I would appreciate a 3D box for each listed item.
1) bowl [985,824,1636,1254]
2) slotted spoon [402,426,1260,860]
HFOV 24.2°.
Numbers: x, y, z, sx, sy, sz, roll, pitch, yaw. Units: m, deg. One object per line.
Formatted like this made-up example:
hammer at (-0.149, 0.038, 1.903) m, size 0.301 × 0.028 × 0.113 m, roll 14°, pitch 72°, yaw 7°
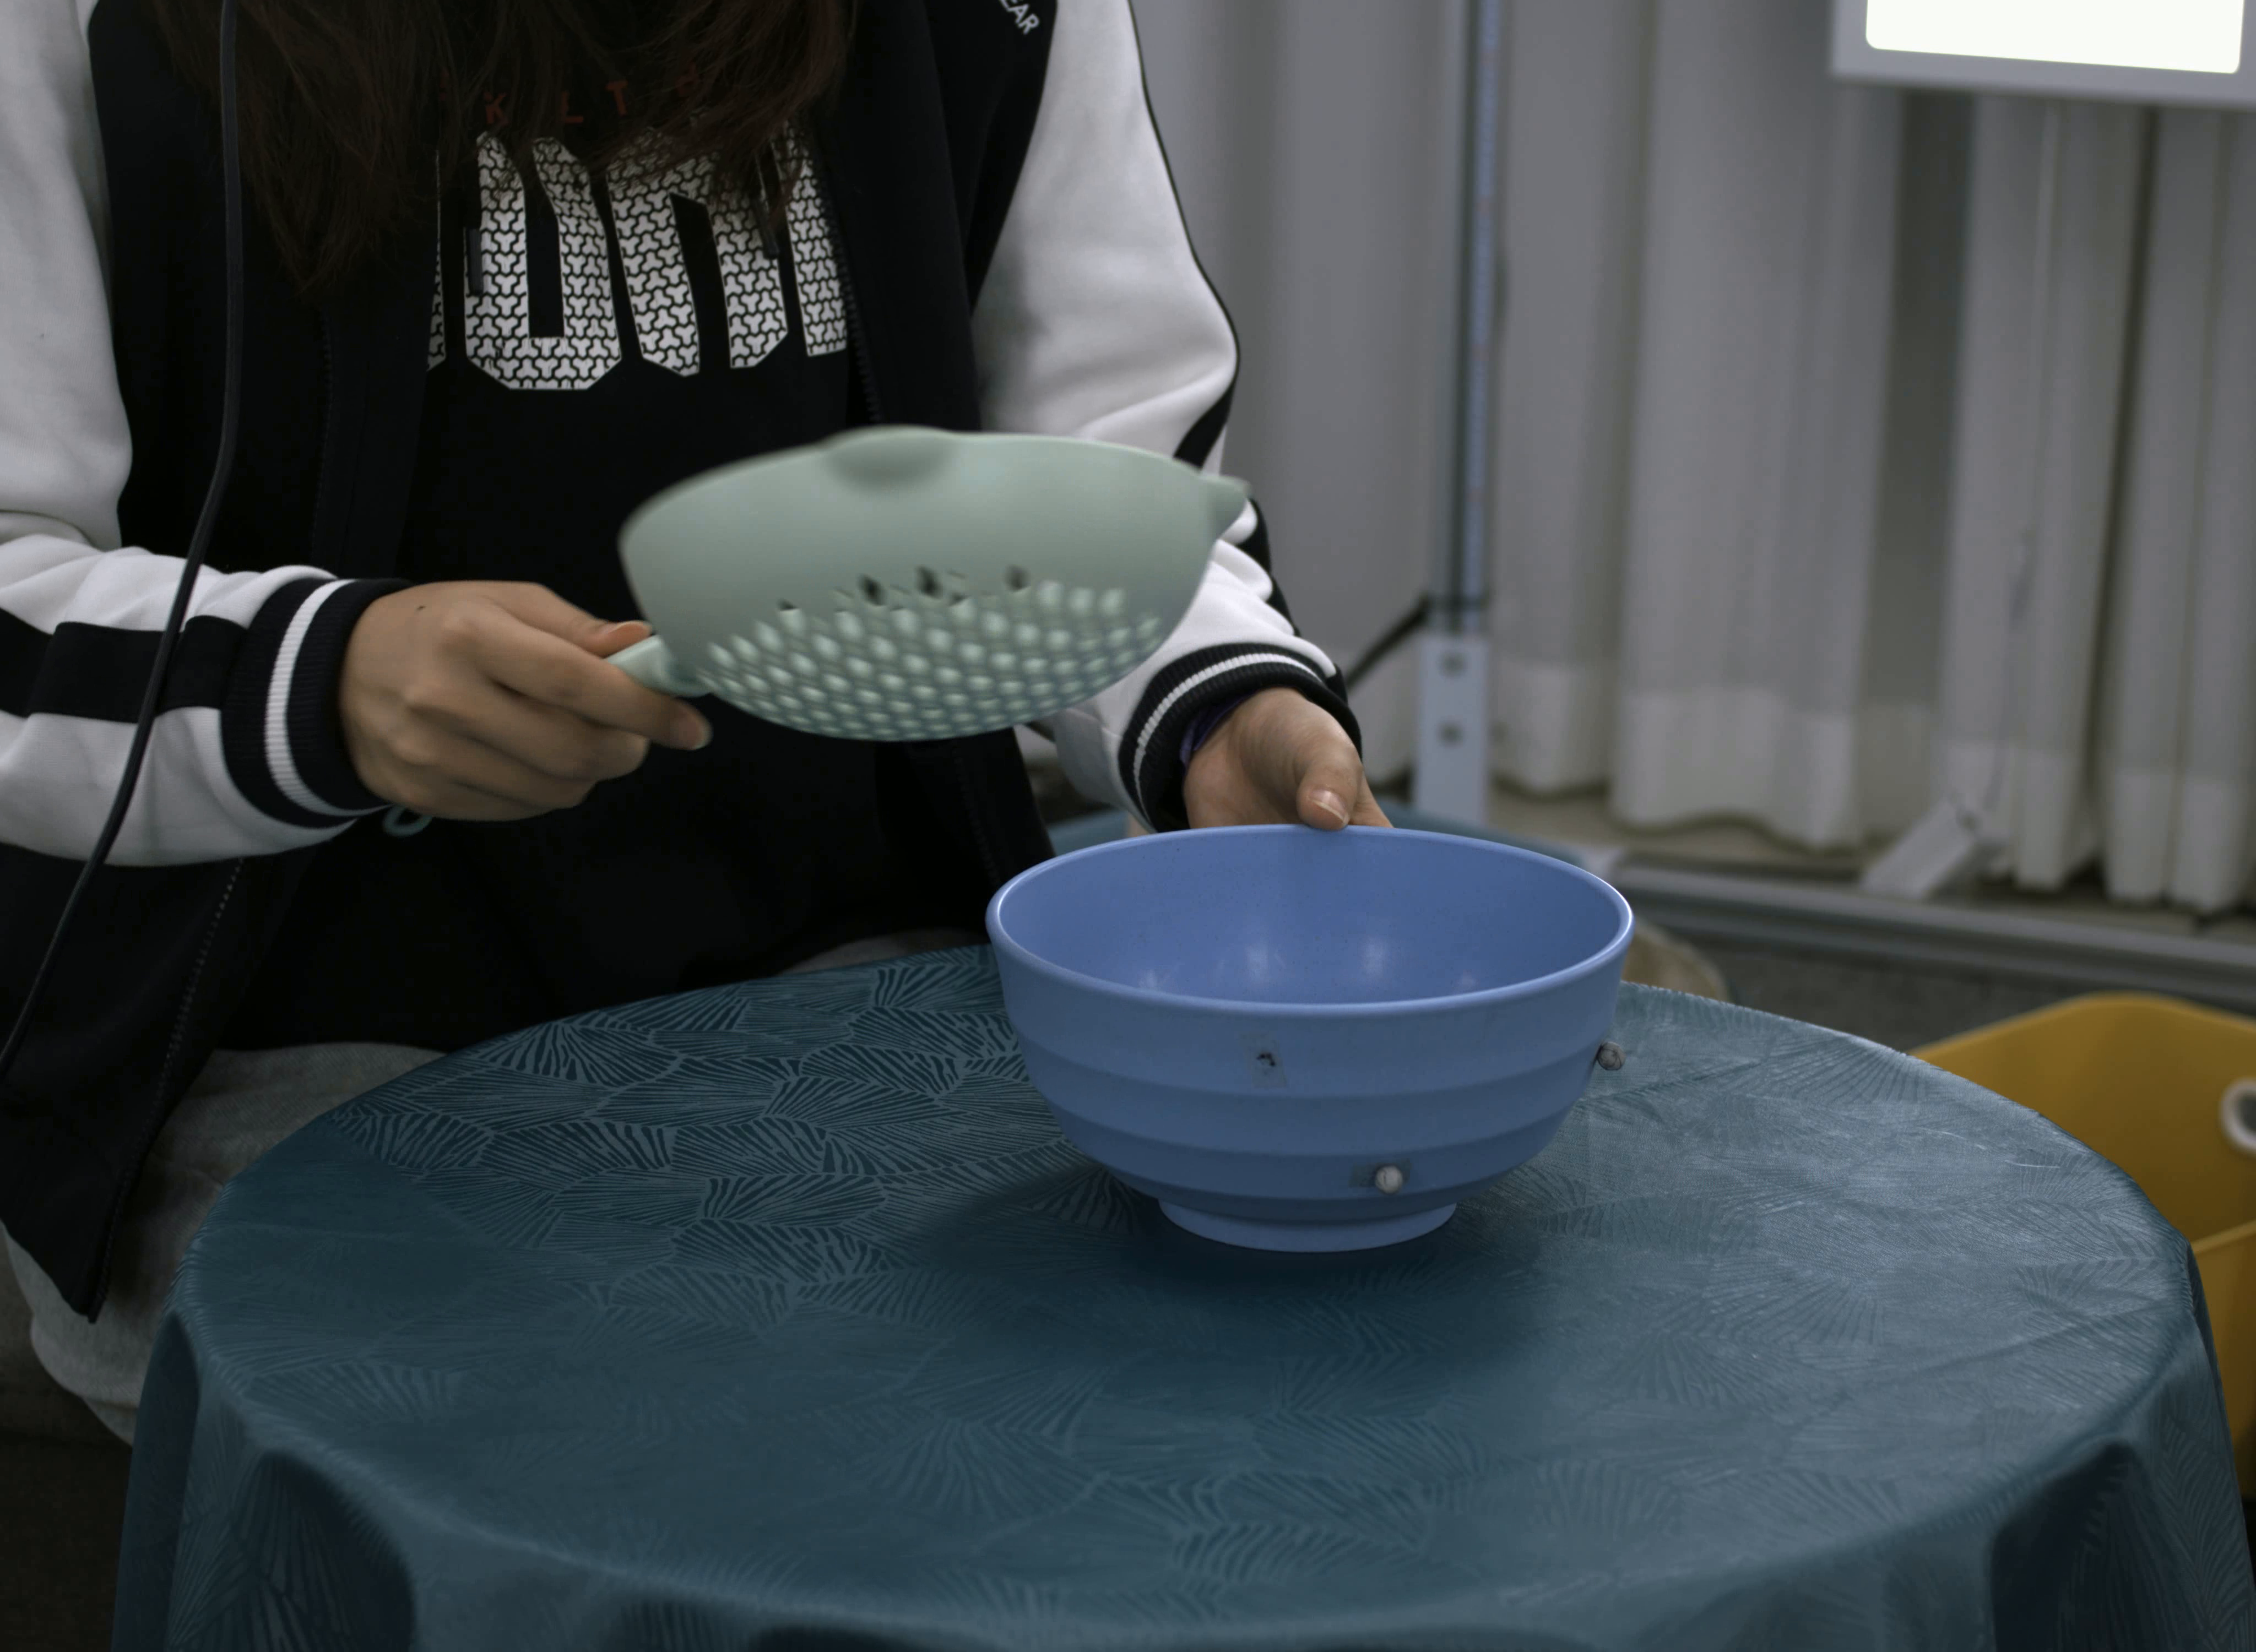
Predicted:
bowl at (0.055, 0.070, 1.598) m, size 0.196 × 0.096 × 0.195 m, roll 0°, pitch 16°, yaw 1°
slotted spoon at (-0.115, -0.048, 1.545) m, size 0.171 × 0.075 × 0.355 m, roll 3°, pitch -9°, yaw -41°
